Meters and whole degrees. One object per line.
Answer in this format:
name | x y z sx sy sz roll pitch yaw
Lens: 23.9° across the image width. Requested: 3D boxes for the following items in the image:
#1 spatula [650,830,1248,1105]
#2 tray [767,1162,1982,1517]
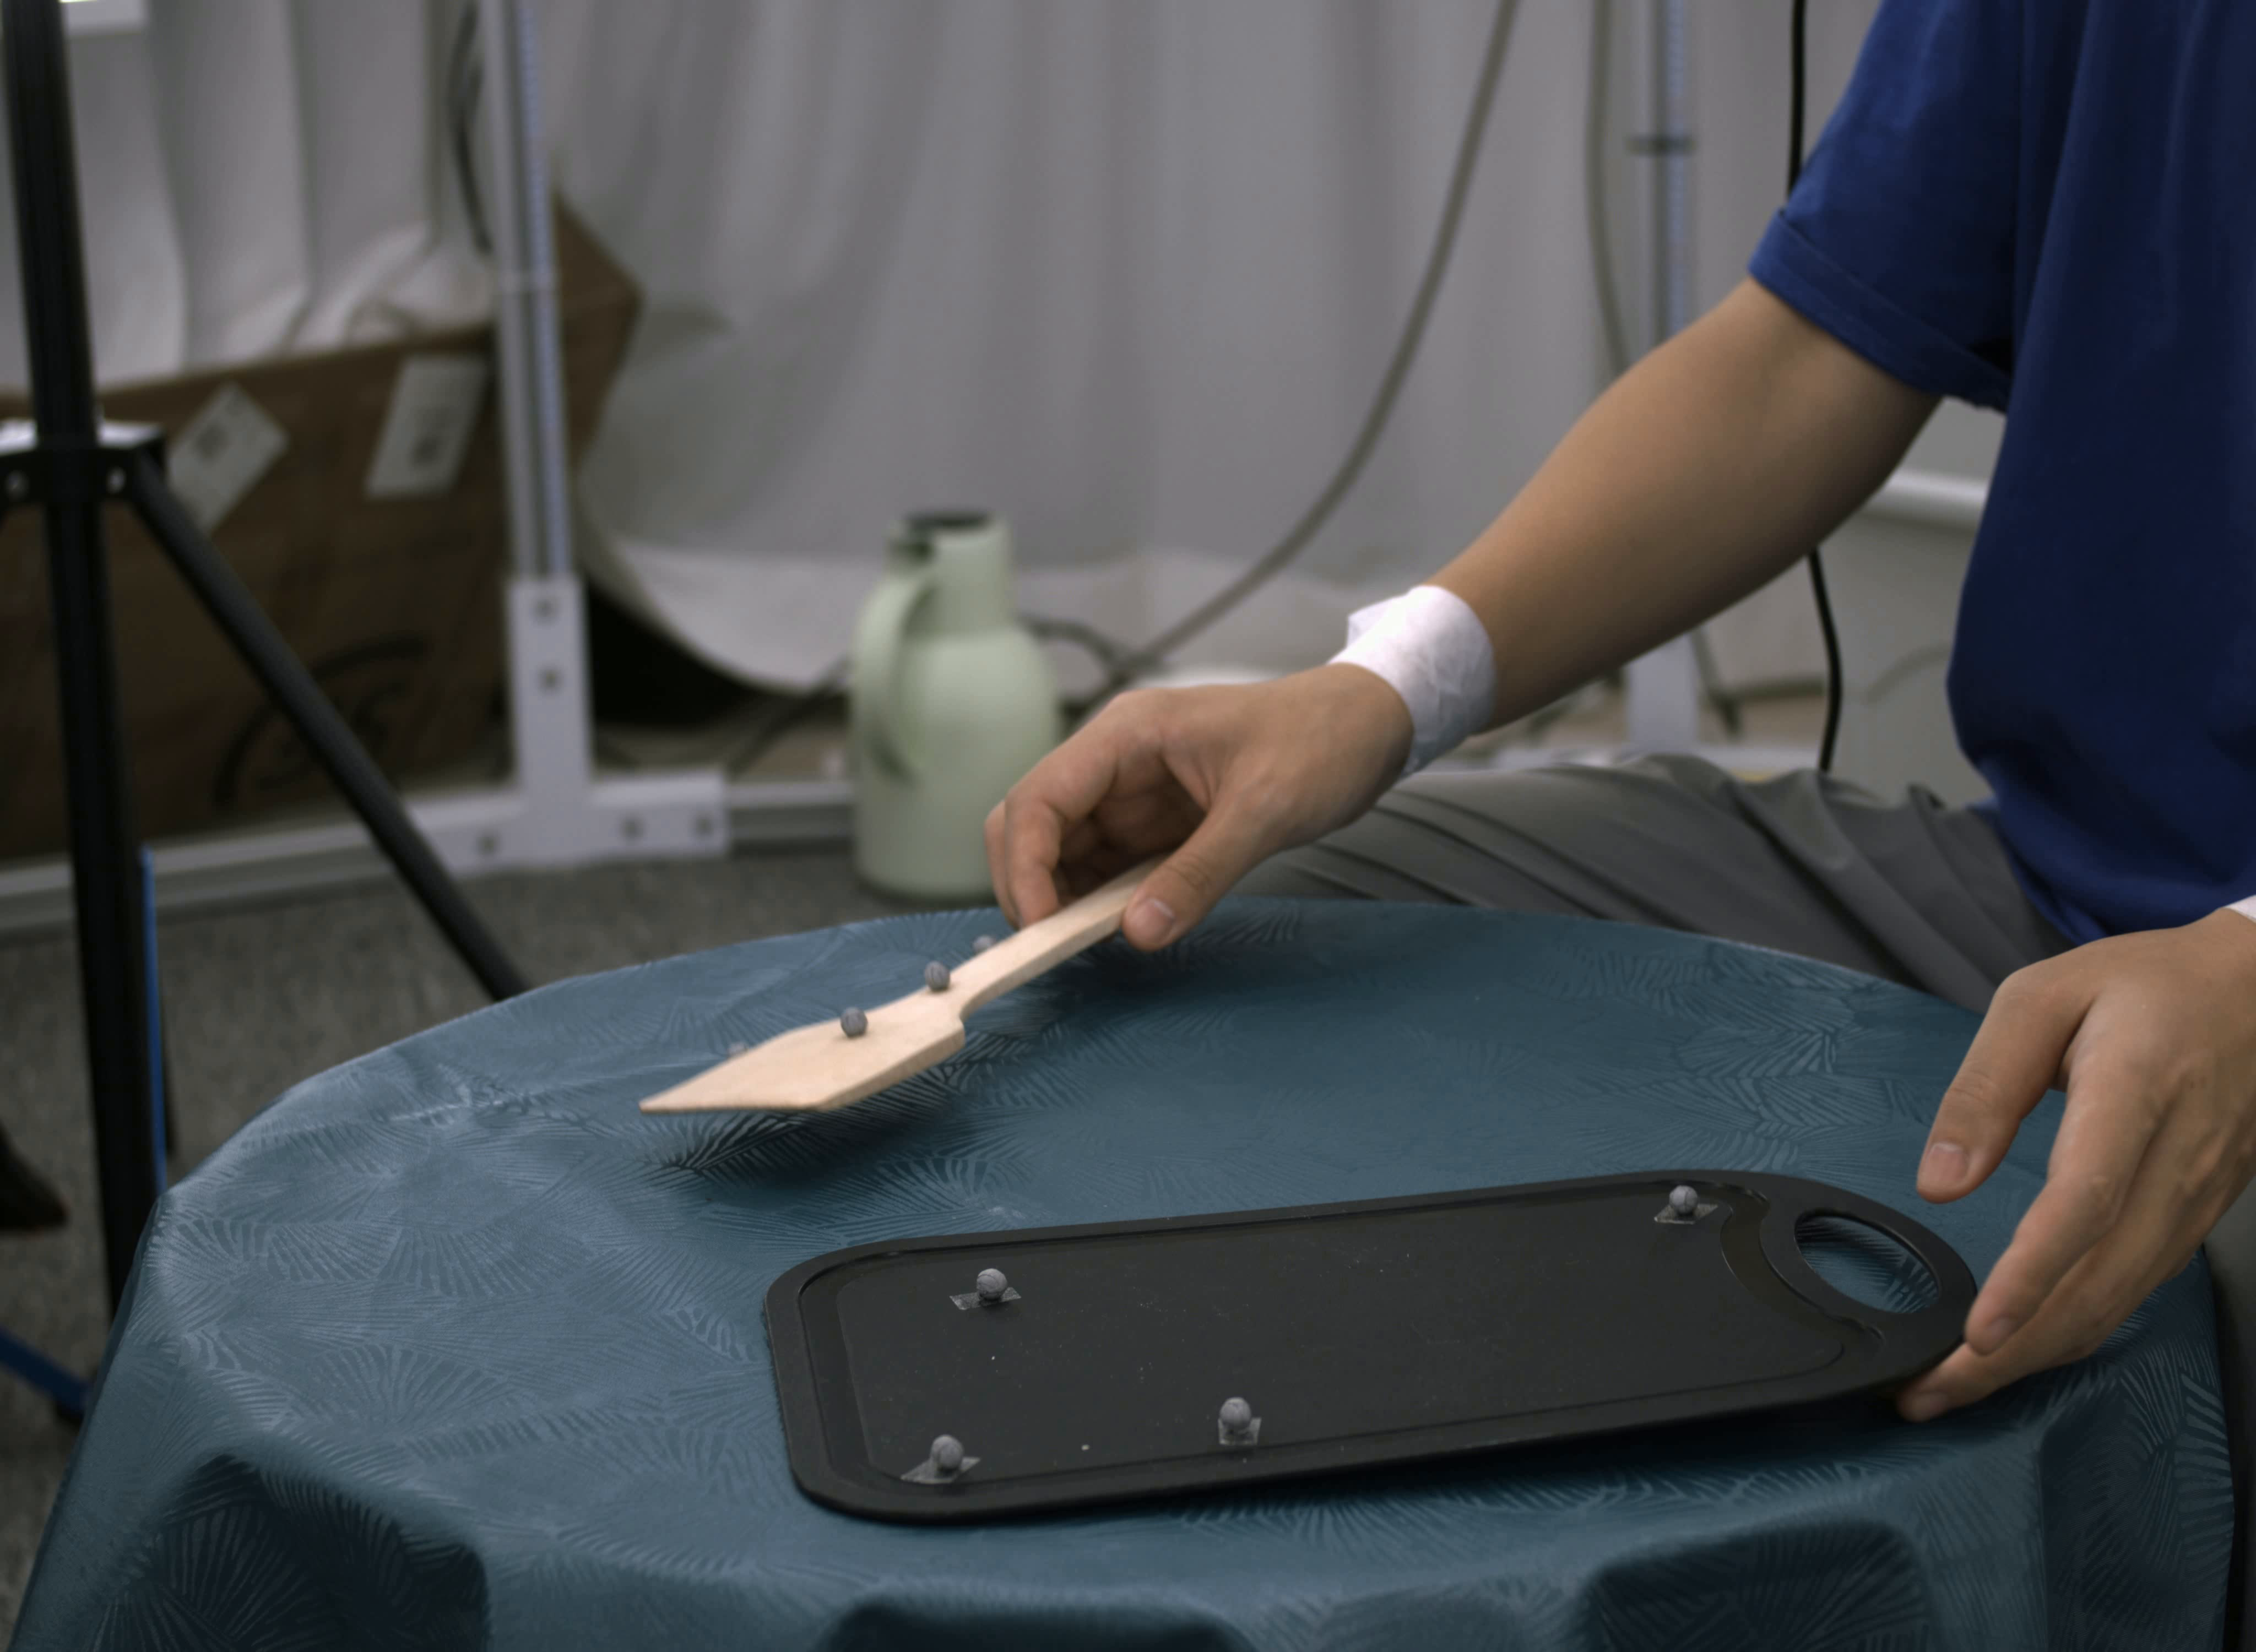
spatula | -0.043 0.044 1.696 0.073 0.010 0.288 -3 15 34
tray | 0.067 0.133 1.429 0.323 0.010 0.213 -5 15 -3
